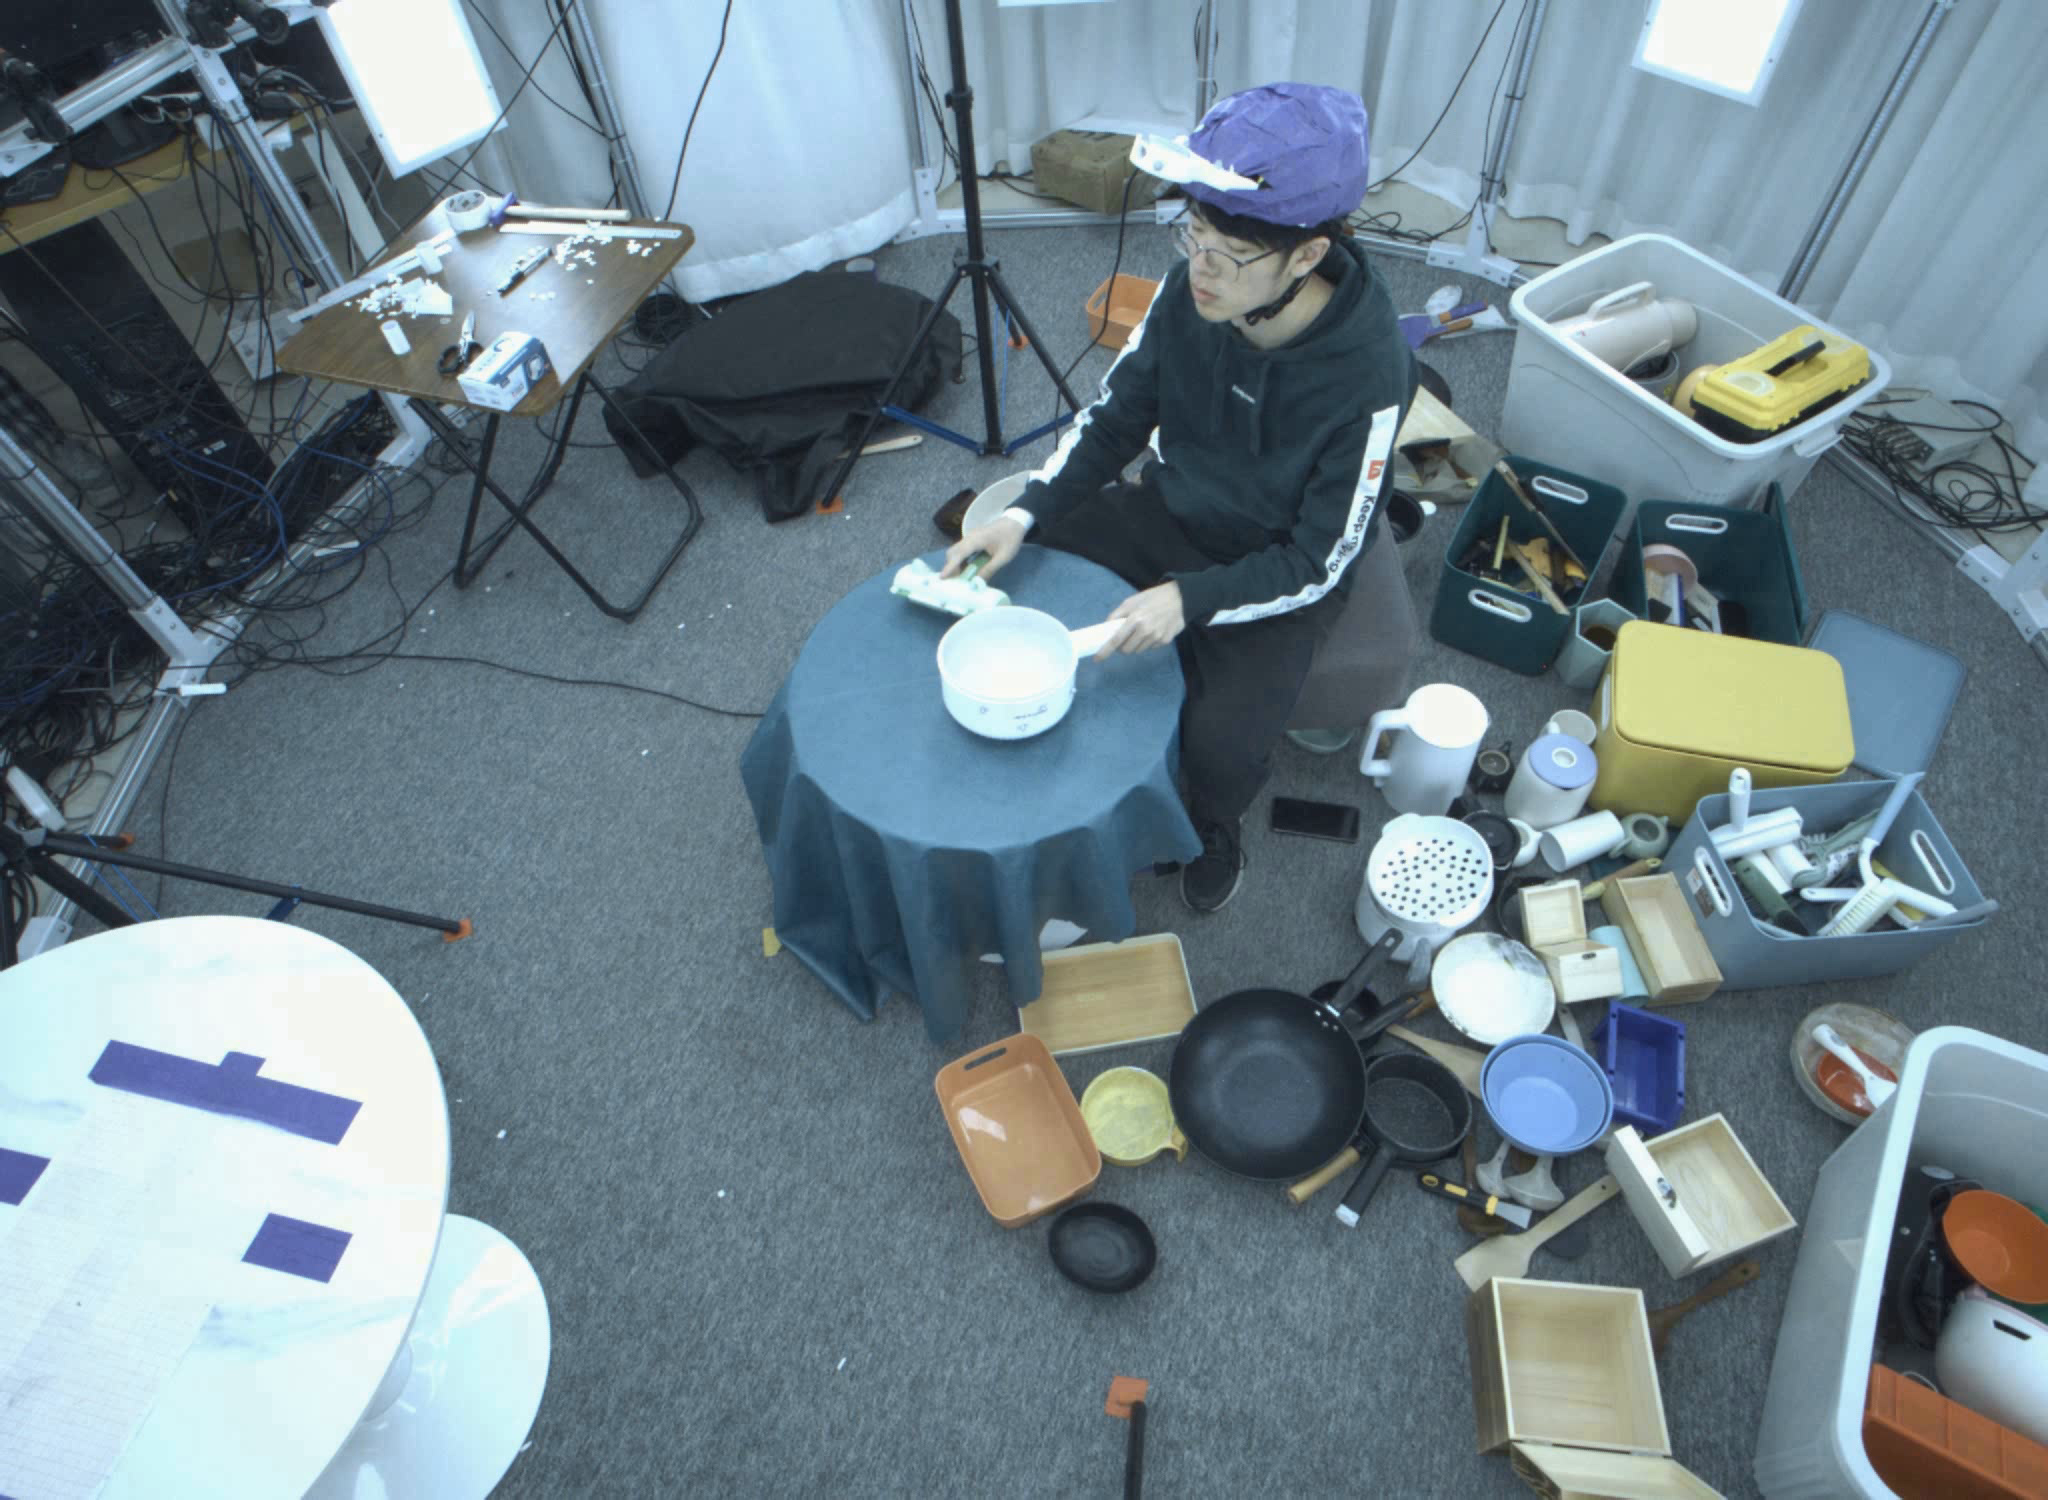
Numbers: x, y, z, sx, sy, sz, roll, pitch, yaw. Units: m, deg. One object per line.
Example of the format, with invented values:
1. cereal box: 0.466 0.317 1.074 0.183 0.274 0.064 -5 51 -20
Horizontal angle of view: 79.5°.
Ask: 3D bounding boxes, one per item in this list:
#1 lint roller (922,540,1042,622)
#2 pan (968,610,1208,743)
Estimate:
1. lint roller: -0.036 -0.285 1.910 0.194 0.083 0.184 22 62 30
2. pan: 0.094 -0.118 1.801 0.358 0.103 0.197 -13 48 -14
